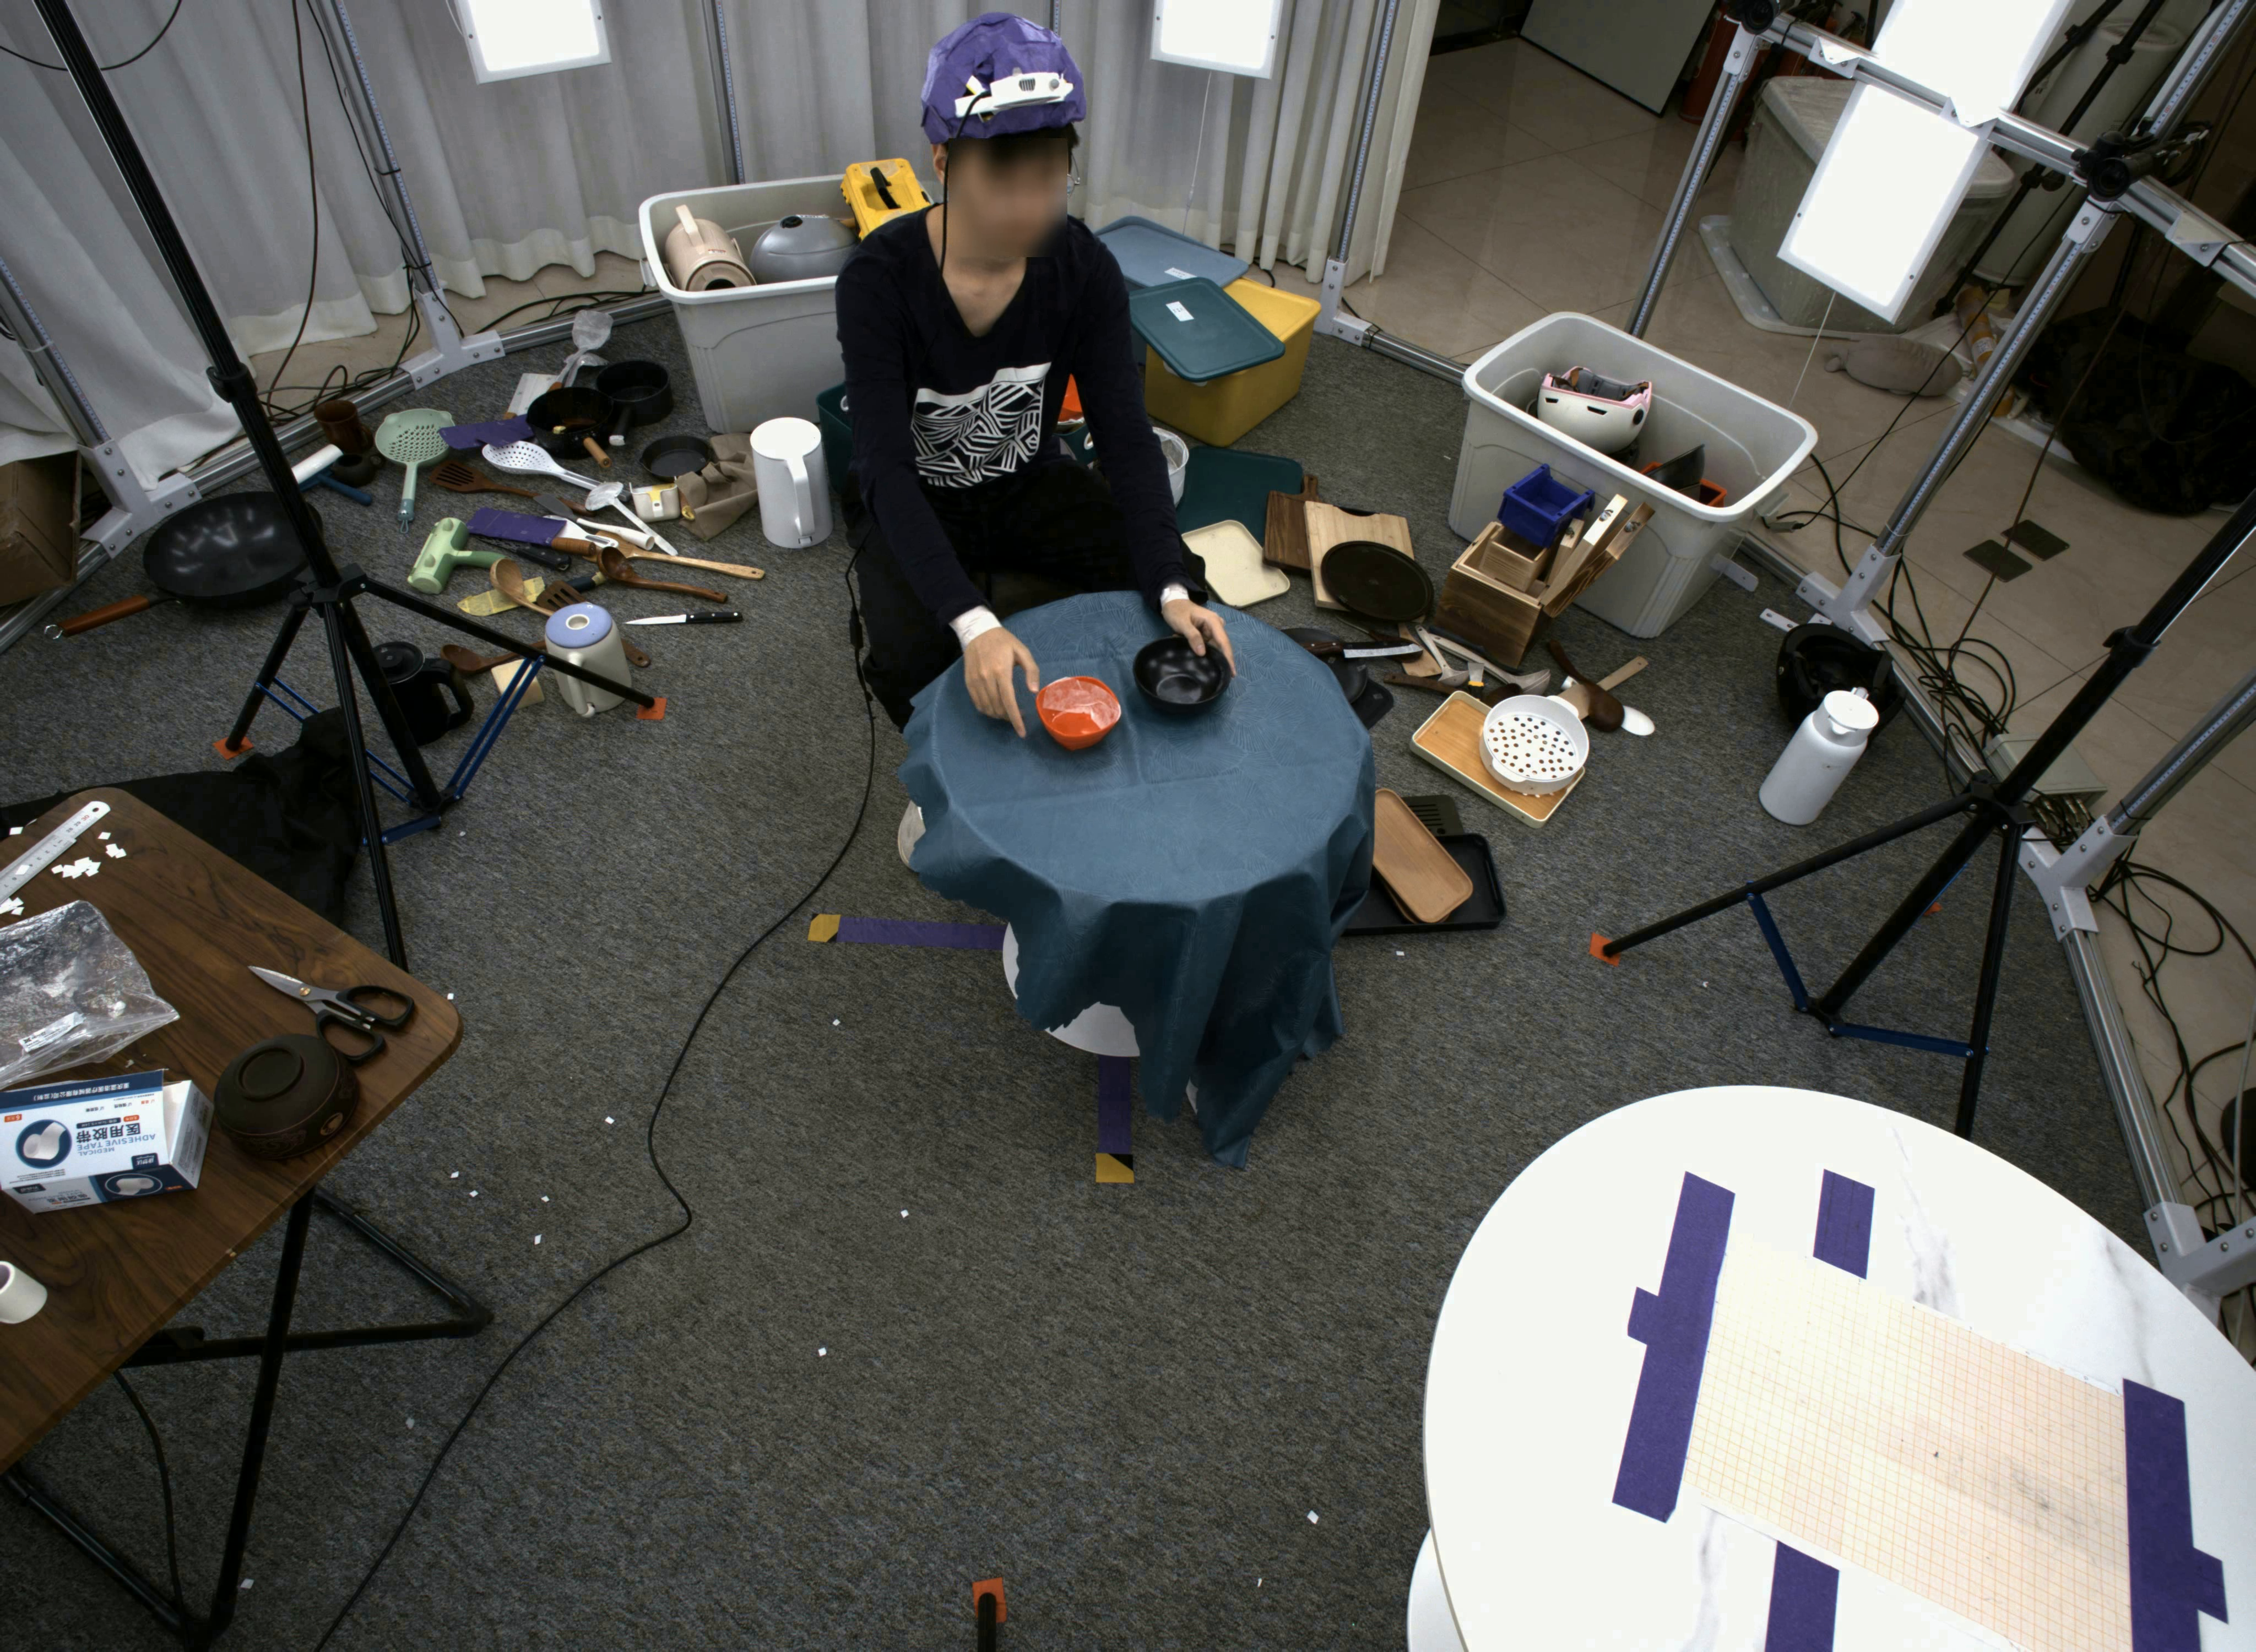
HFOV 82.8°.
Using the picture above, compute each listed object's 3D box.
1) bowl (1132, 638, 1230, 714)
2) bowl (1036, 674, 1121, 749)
[{"bbox_3d":[0.074,-0.204,1.820,0.140,0.048,0.143,1,46,-2],"label":"bowl"},{"bbox_3d":[-0.069,-0.150,1.758,0.119,0.050,0.122,2,51,-2],"label":"bowl"}]
